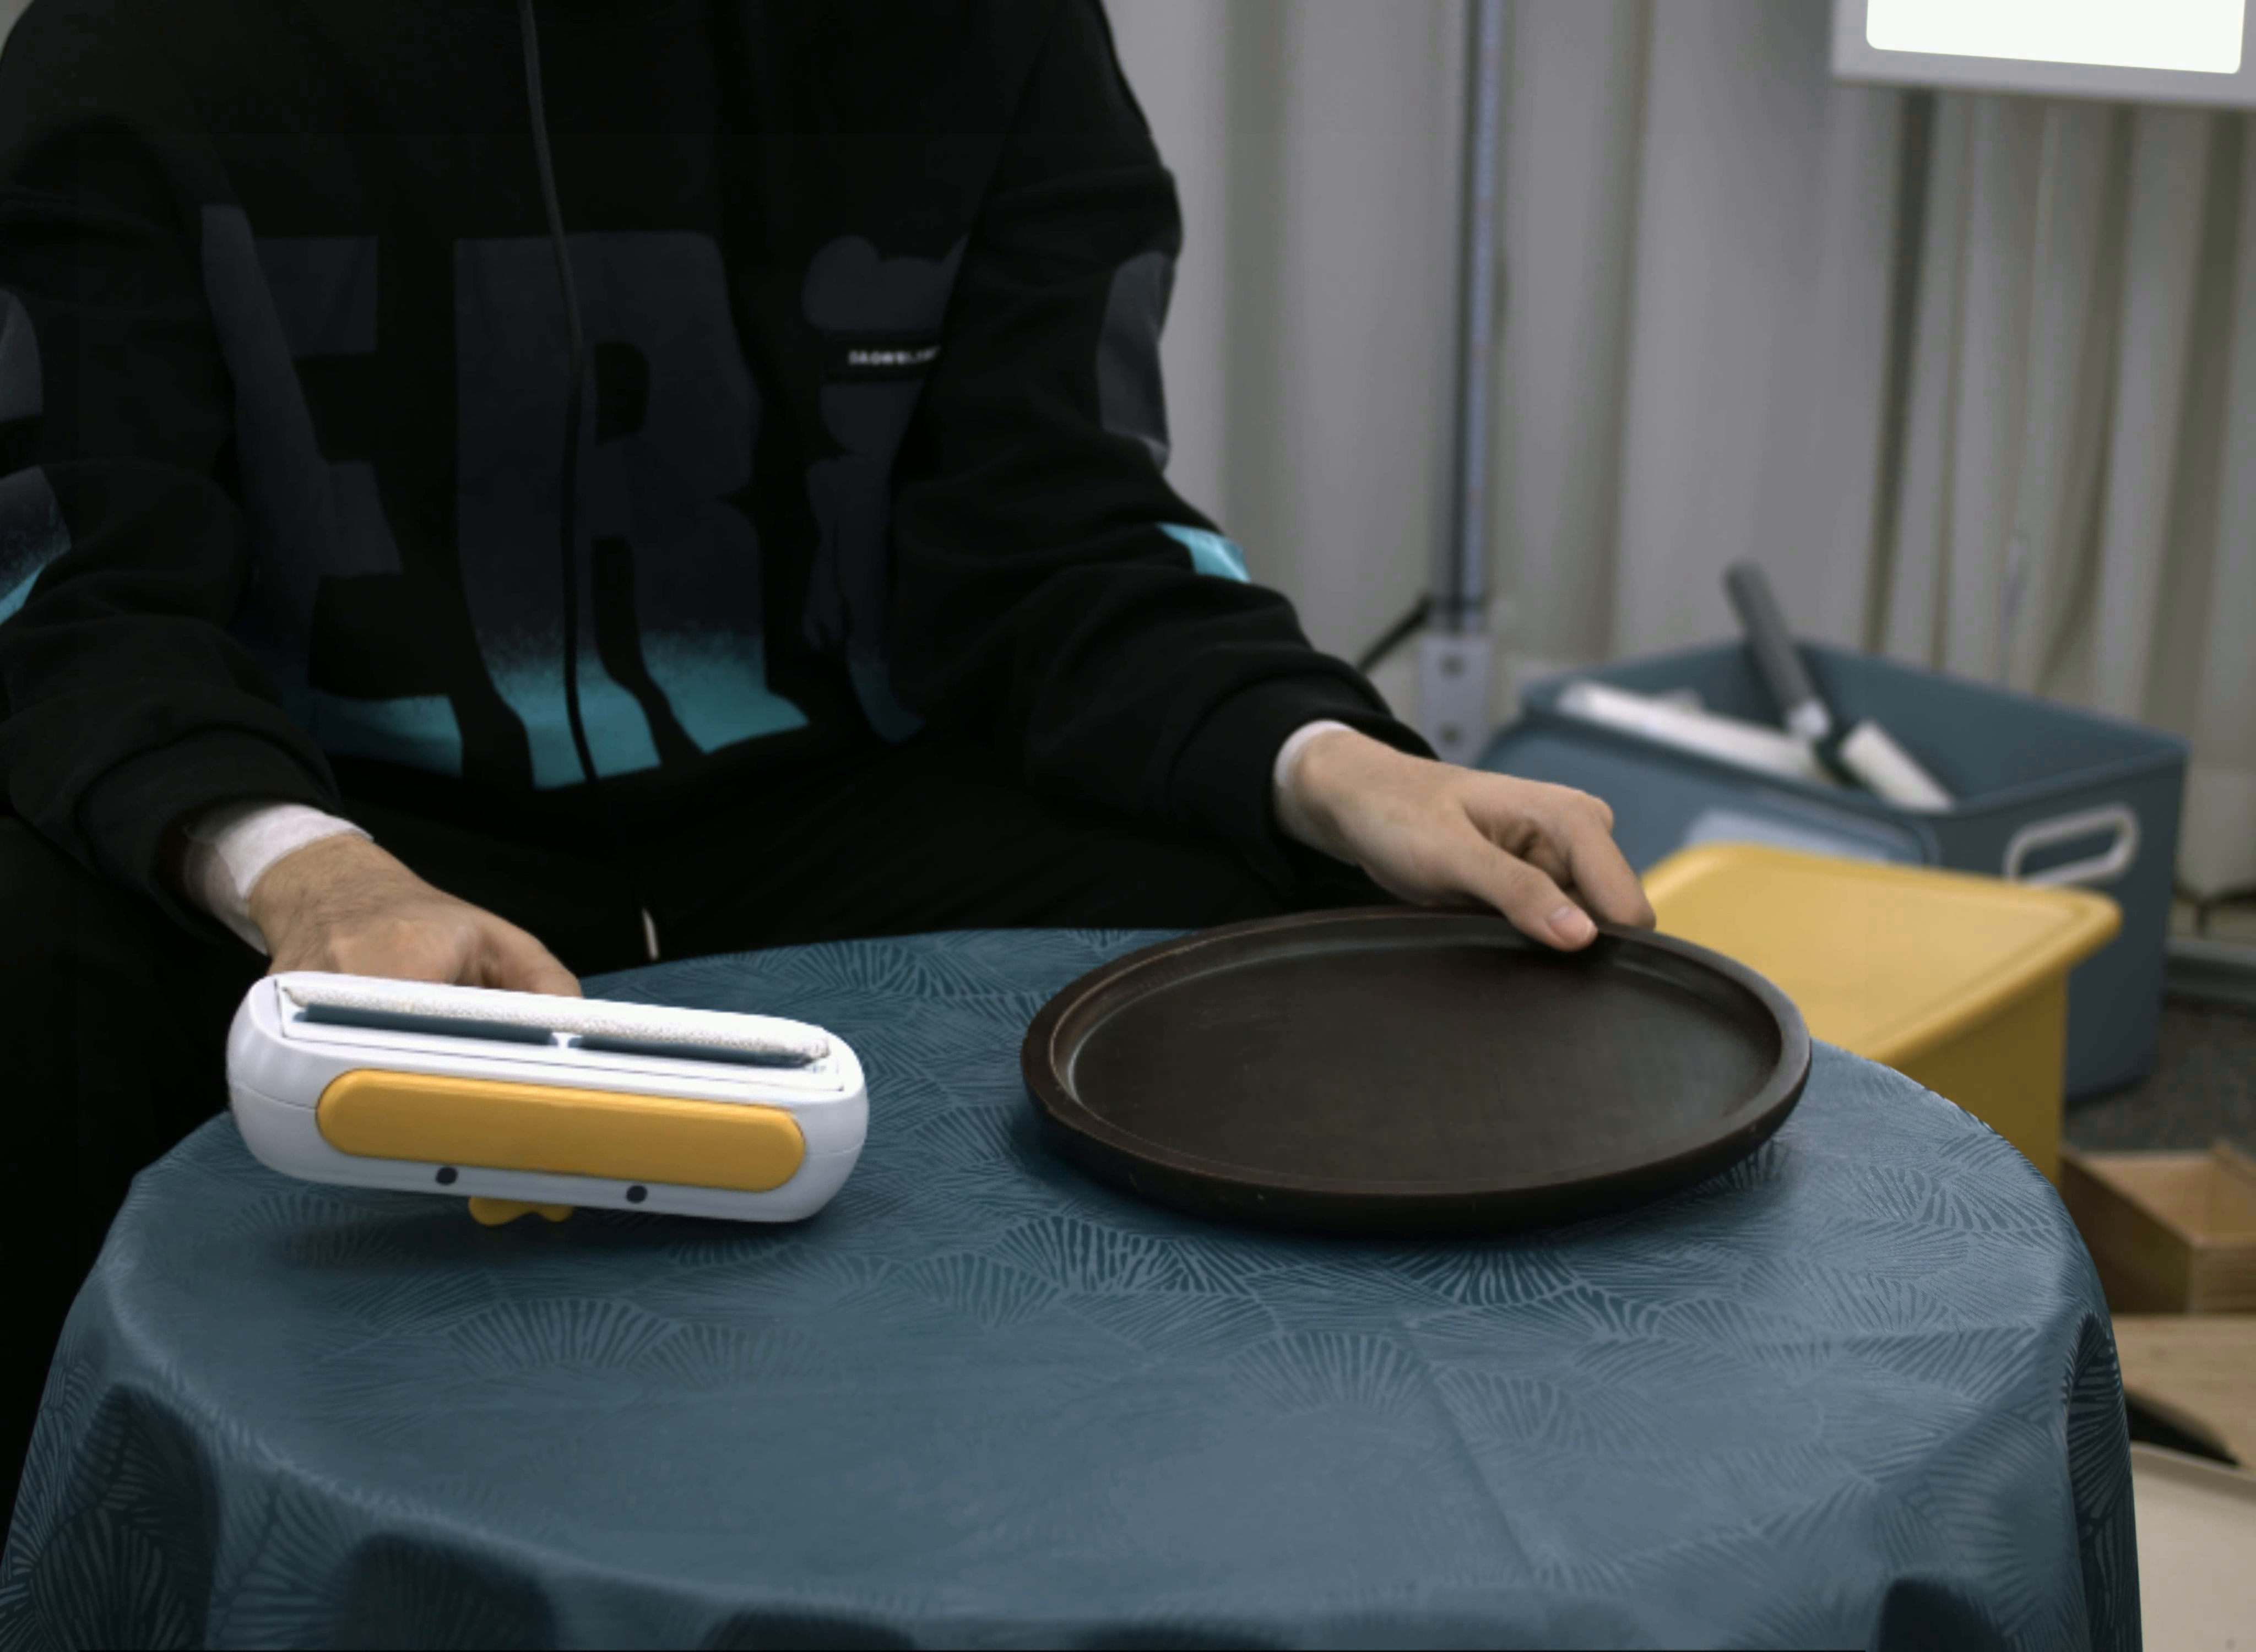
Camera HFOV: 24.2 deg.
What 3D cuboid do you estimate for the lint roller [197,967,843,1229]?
[{"bbox_3d":[-0.191,0.074,1.627,0.193,0.074,0.191,3,13,-11],"label":"lint roller"}]

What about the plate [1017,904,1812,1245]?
[{"bbox_3d":[0.091,0.077,1.679,0.254,0.029,0.253,-3,18,2],"label":"plate"}]
